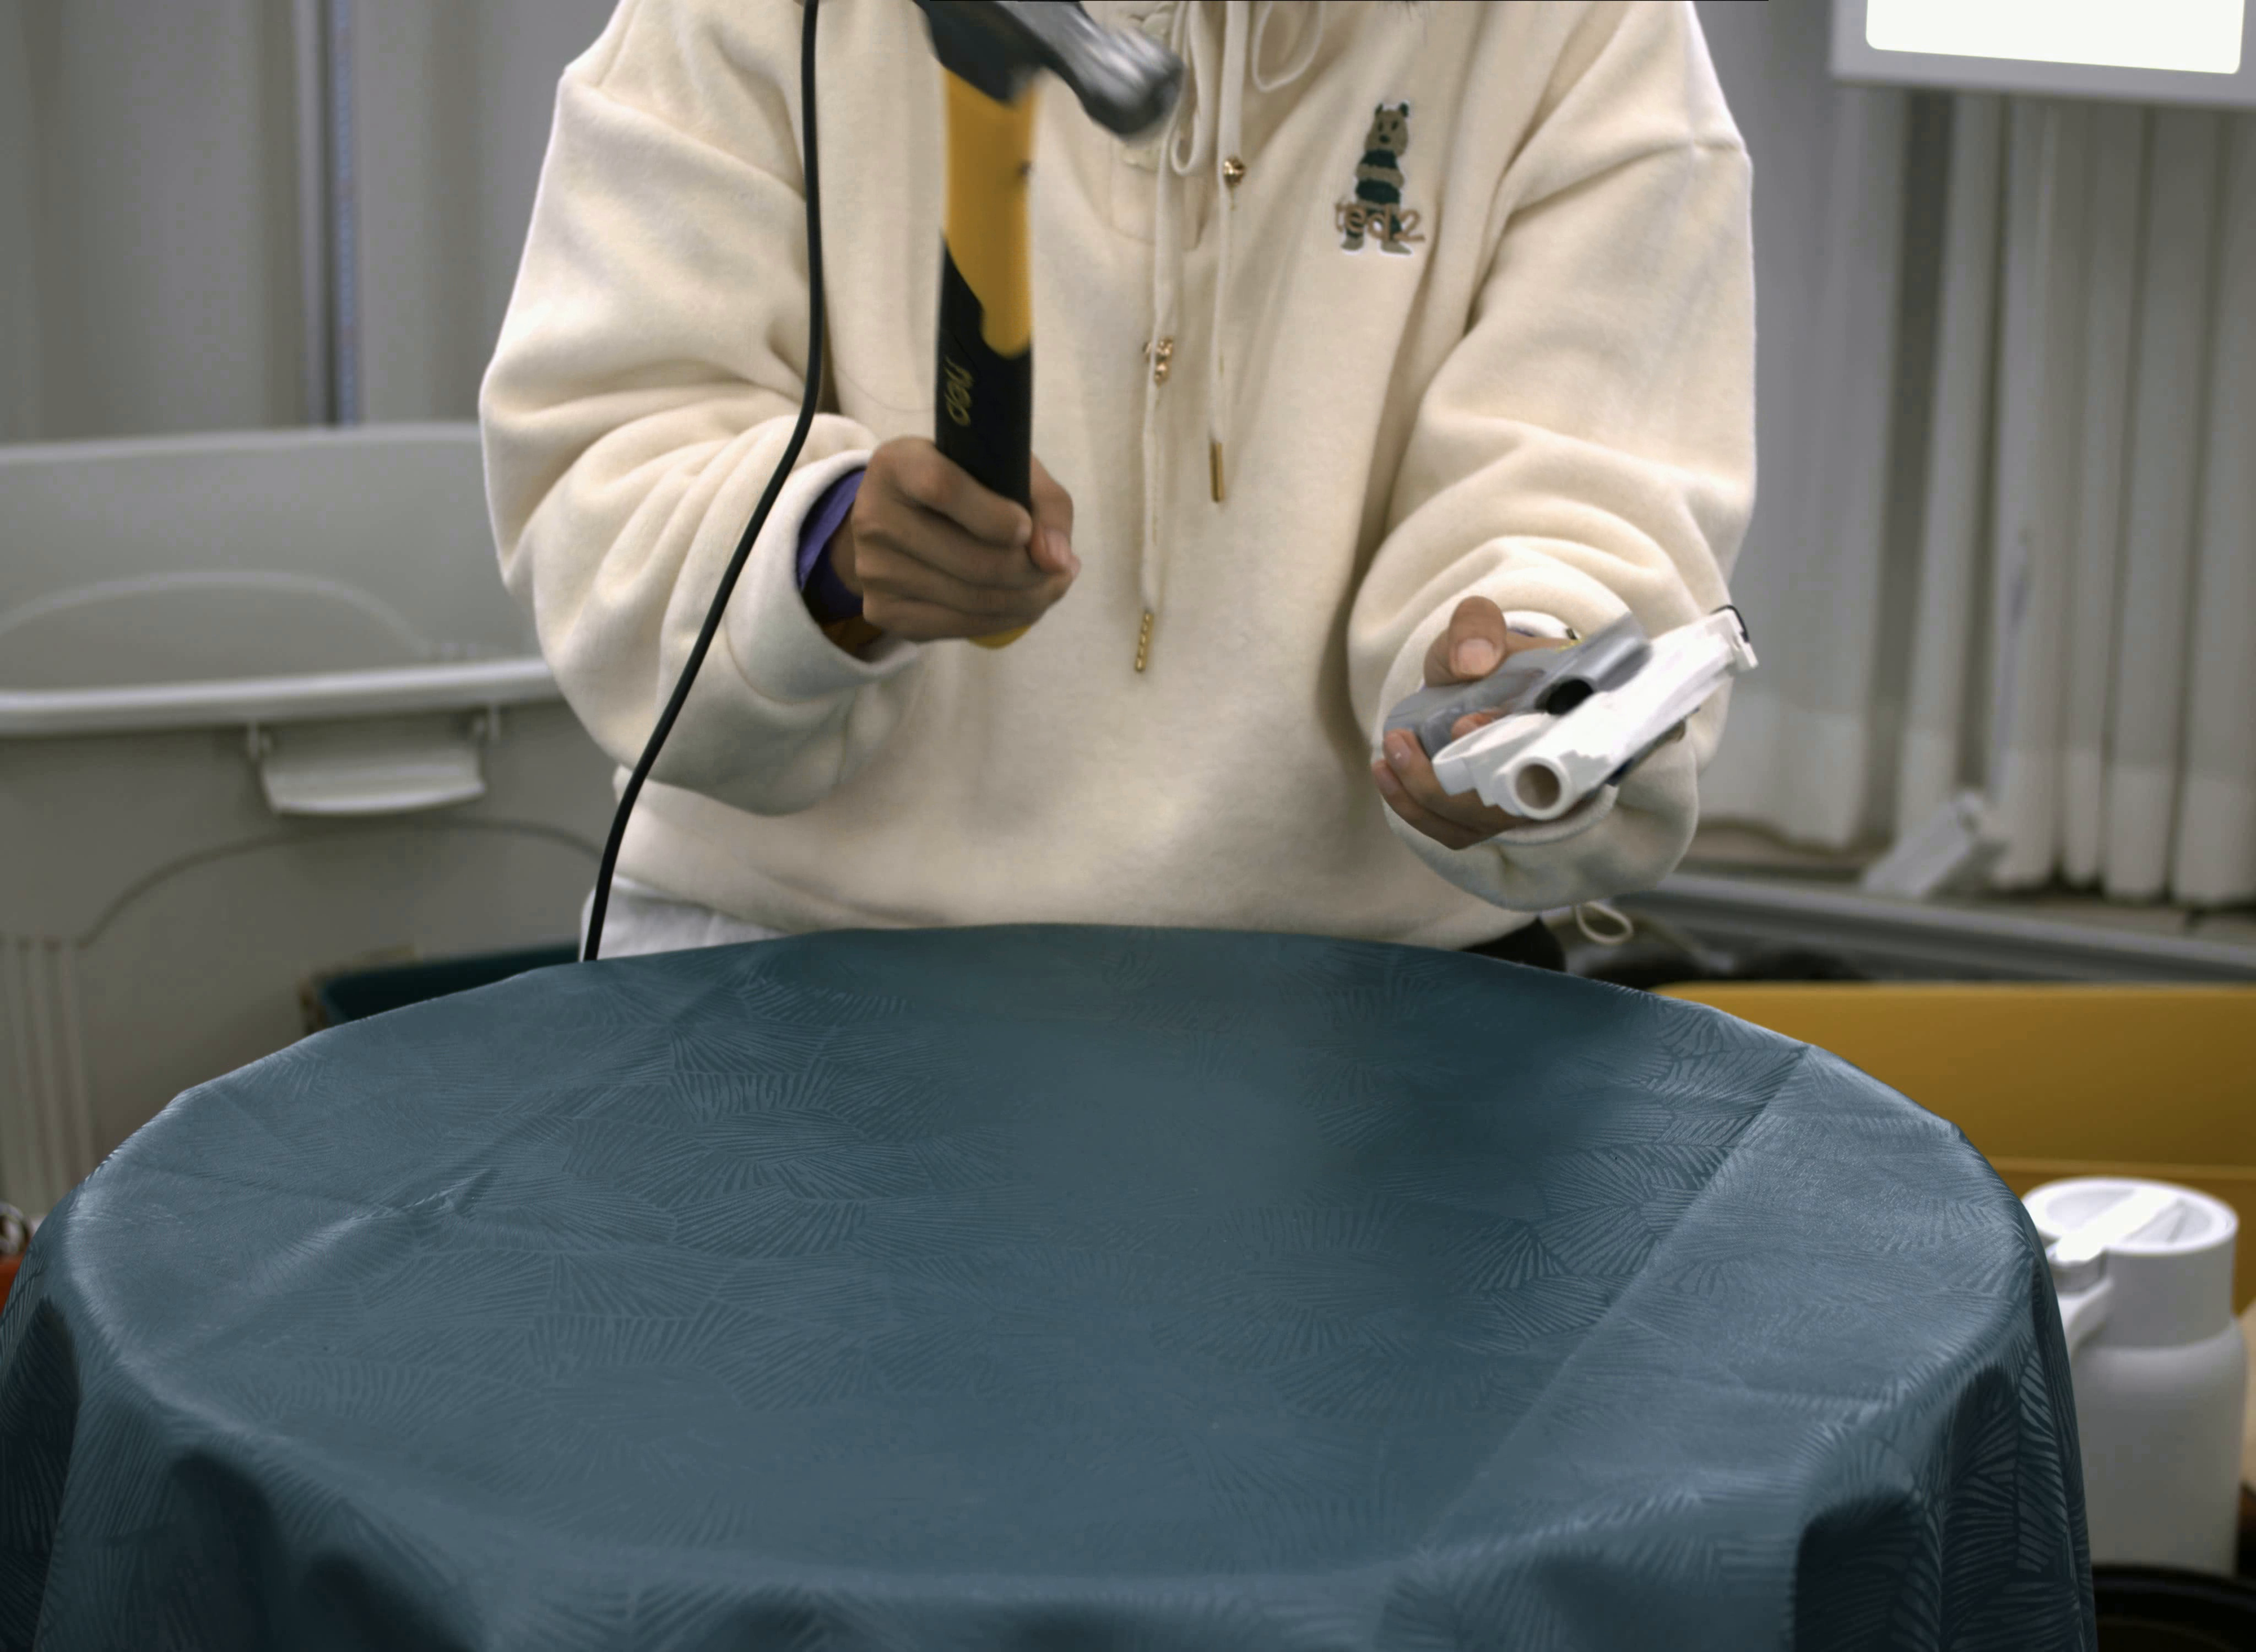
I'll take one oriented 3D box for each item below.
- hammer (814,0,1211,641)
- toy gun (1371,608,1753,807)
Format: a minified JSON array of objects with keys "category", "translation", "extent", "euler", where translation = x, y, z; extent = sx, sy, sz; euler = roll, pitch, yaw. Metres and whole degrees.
[{"category":"hammer","translation":[-0.040,-0.163,1.679],"extent":[0.130,0.341,0.032],"euler":[35,64,17]},{"category":"toy gun","translation":[0.116,-0.028,1.586],"extent":[0.141,0.039,0.209],"euler":[-21,7,26]}]
